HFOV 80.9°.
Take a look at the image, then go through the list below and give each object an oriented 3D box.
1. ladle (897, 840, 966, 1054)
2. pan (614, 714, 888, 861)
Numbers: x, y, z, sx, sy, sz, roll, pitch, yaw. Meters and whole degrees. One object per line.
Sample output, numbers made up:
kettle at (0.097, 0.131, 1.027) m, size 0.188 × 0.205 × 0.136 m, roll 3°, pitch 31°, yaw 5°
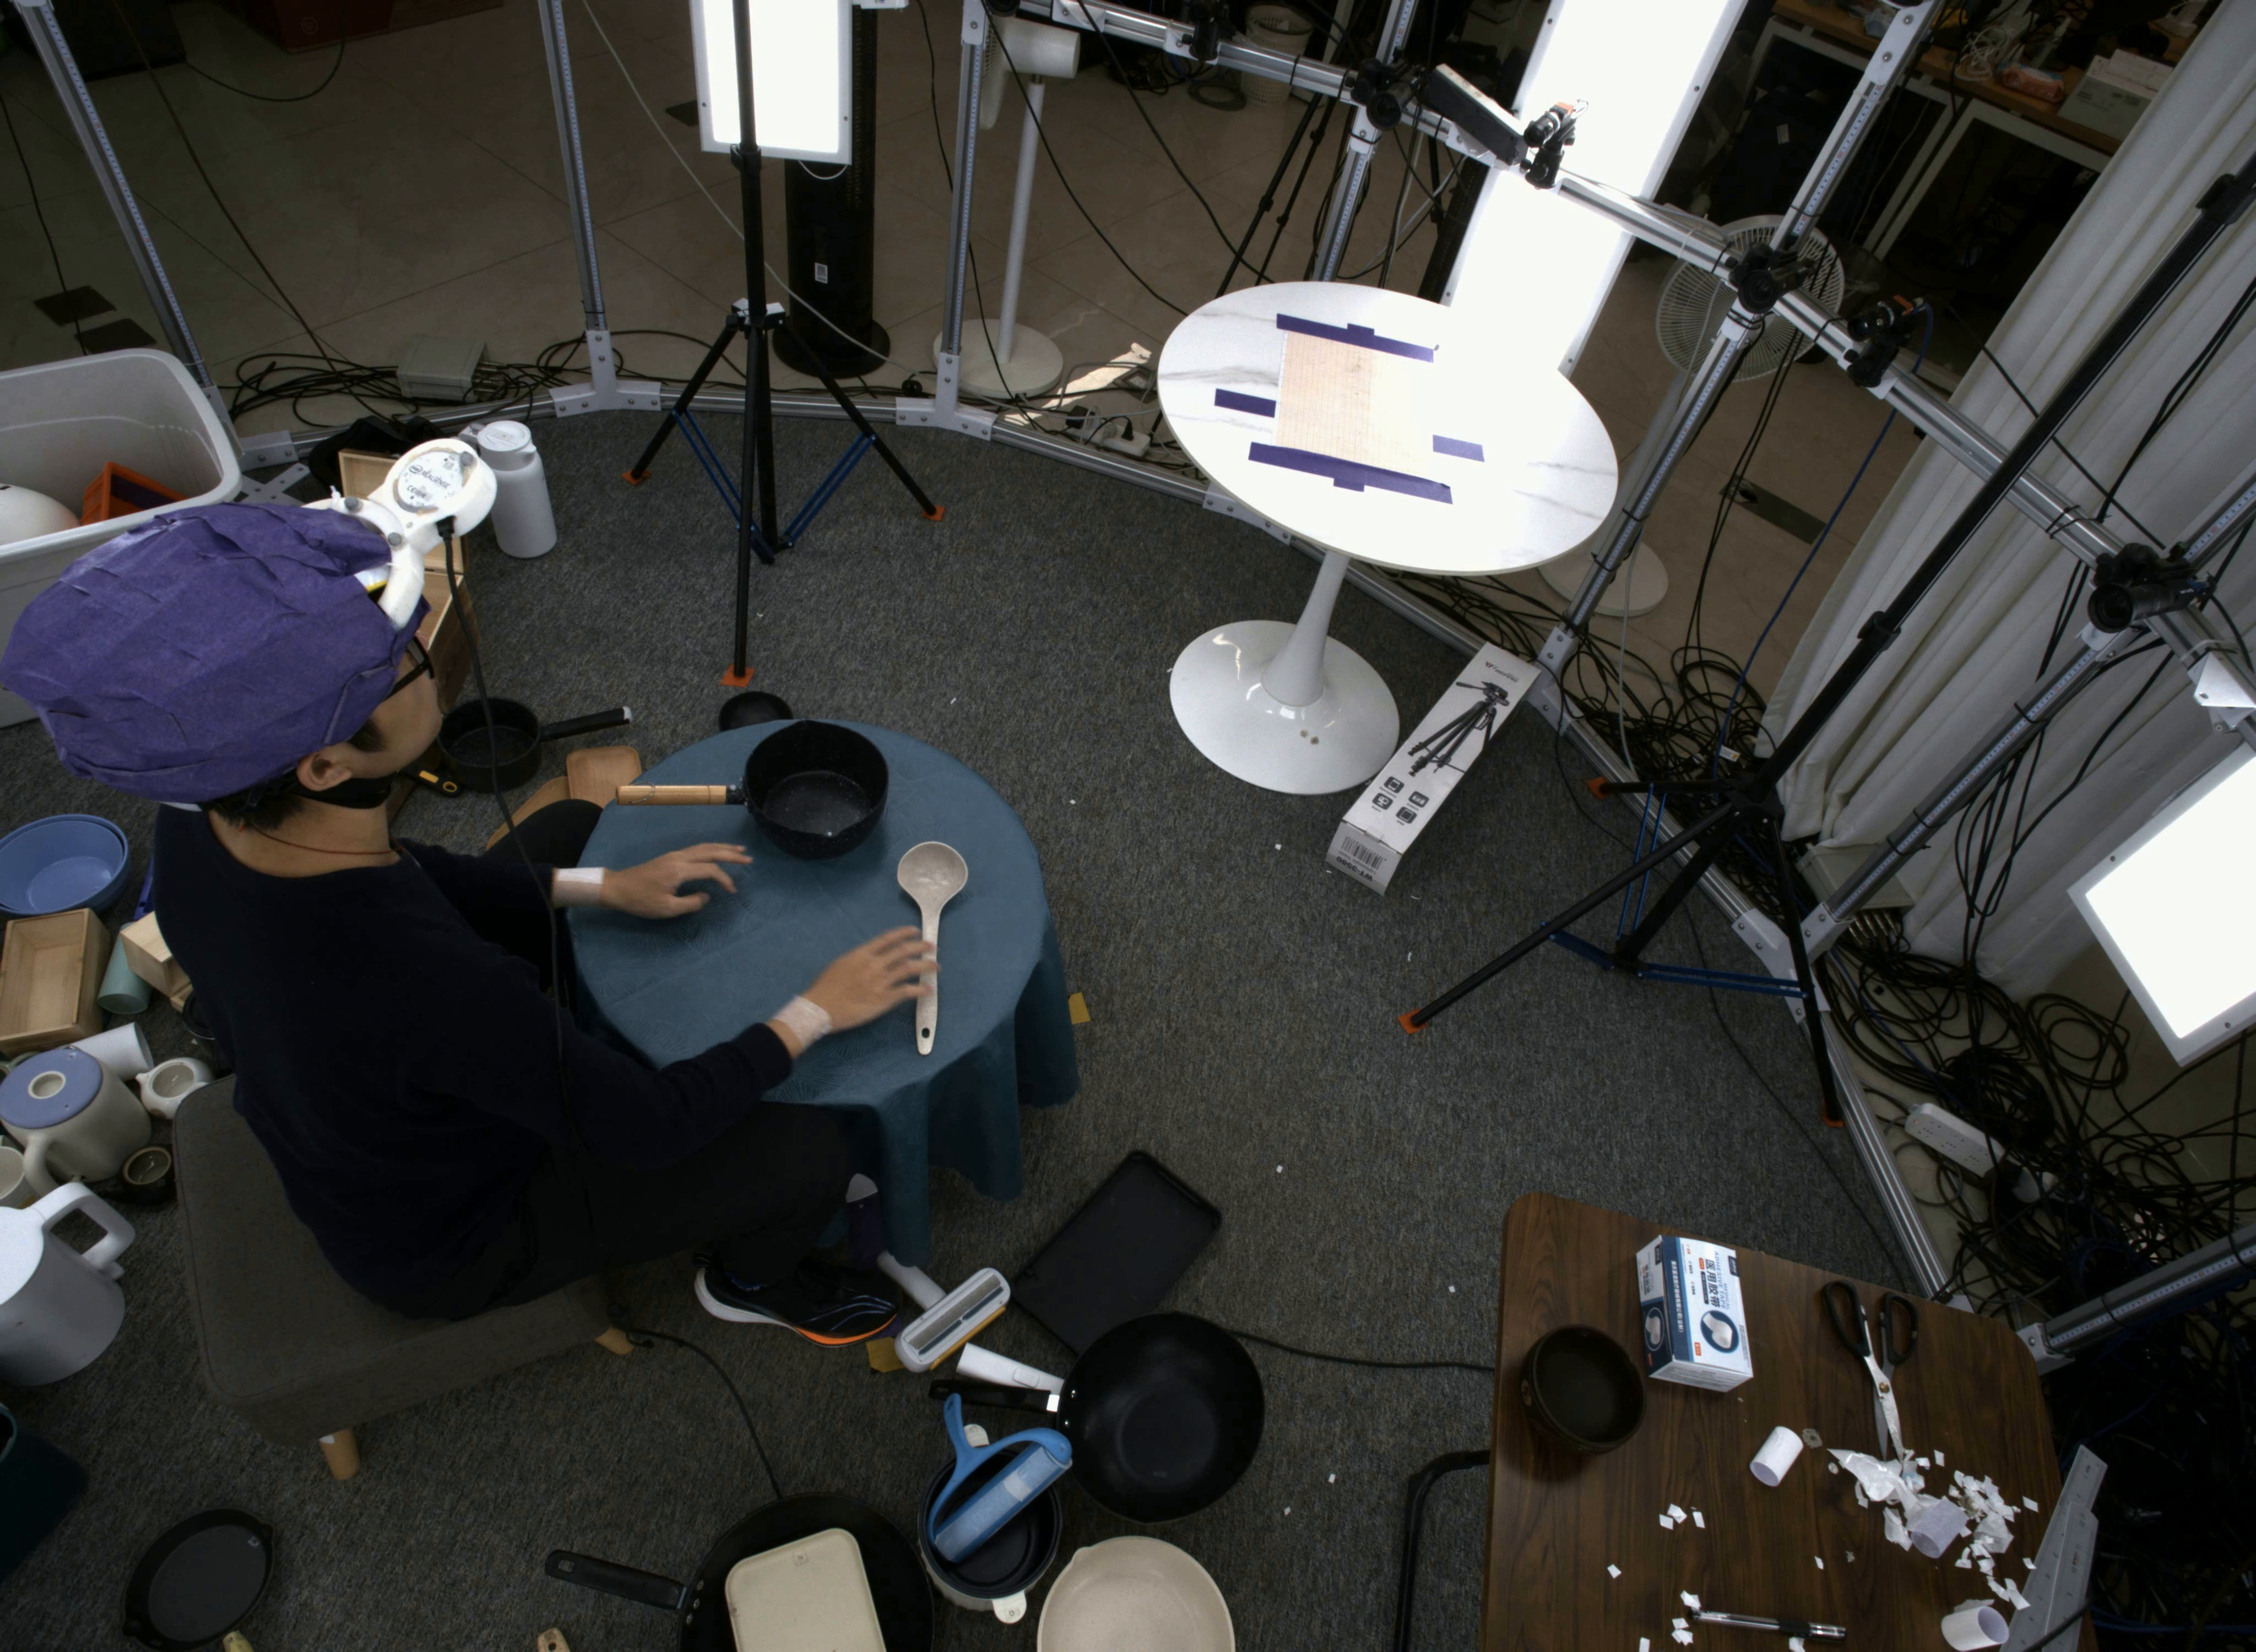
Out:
ladle at (-0.240, 0.142, 1.610) m, size 0.090 × 0.070 × 0.269 m, roll 7°, pitch 50°, yaw -19°
pan at (-0.480, -0.036, 1.656) m, size 0.345 × 0.110 × 0.202 m, roll -9°, pitch 57°, yaw -23°
